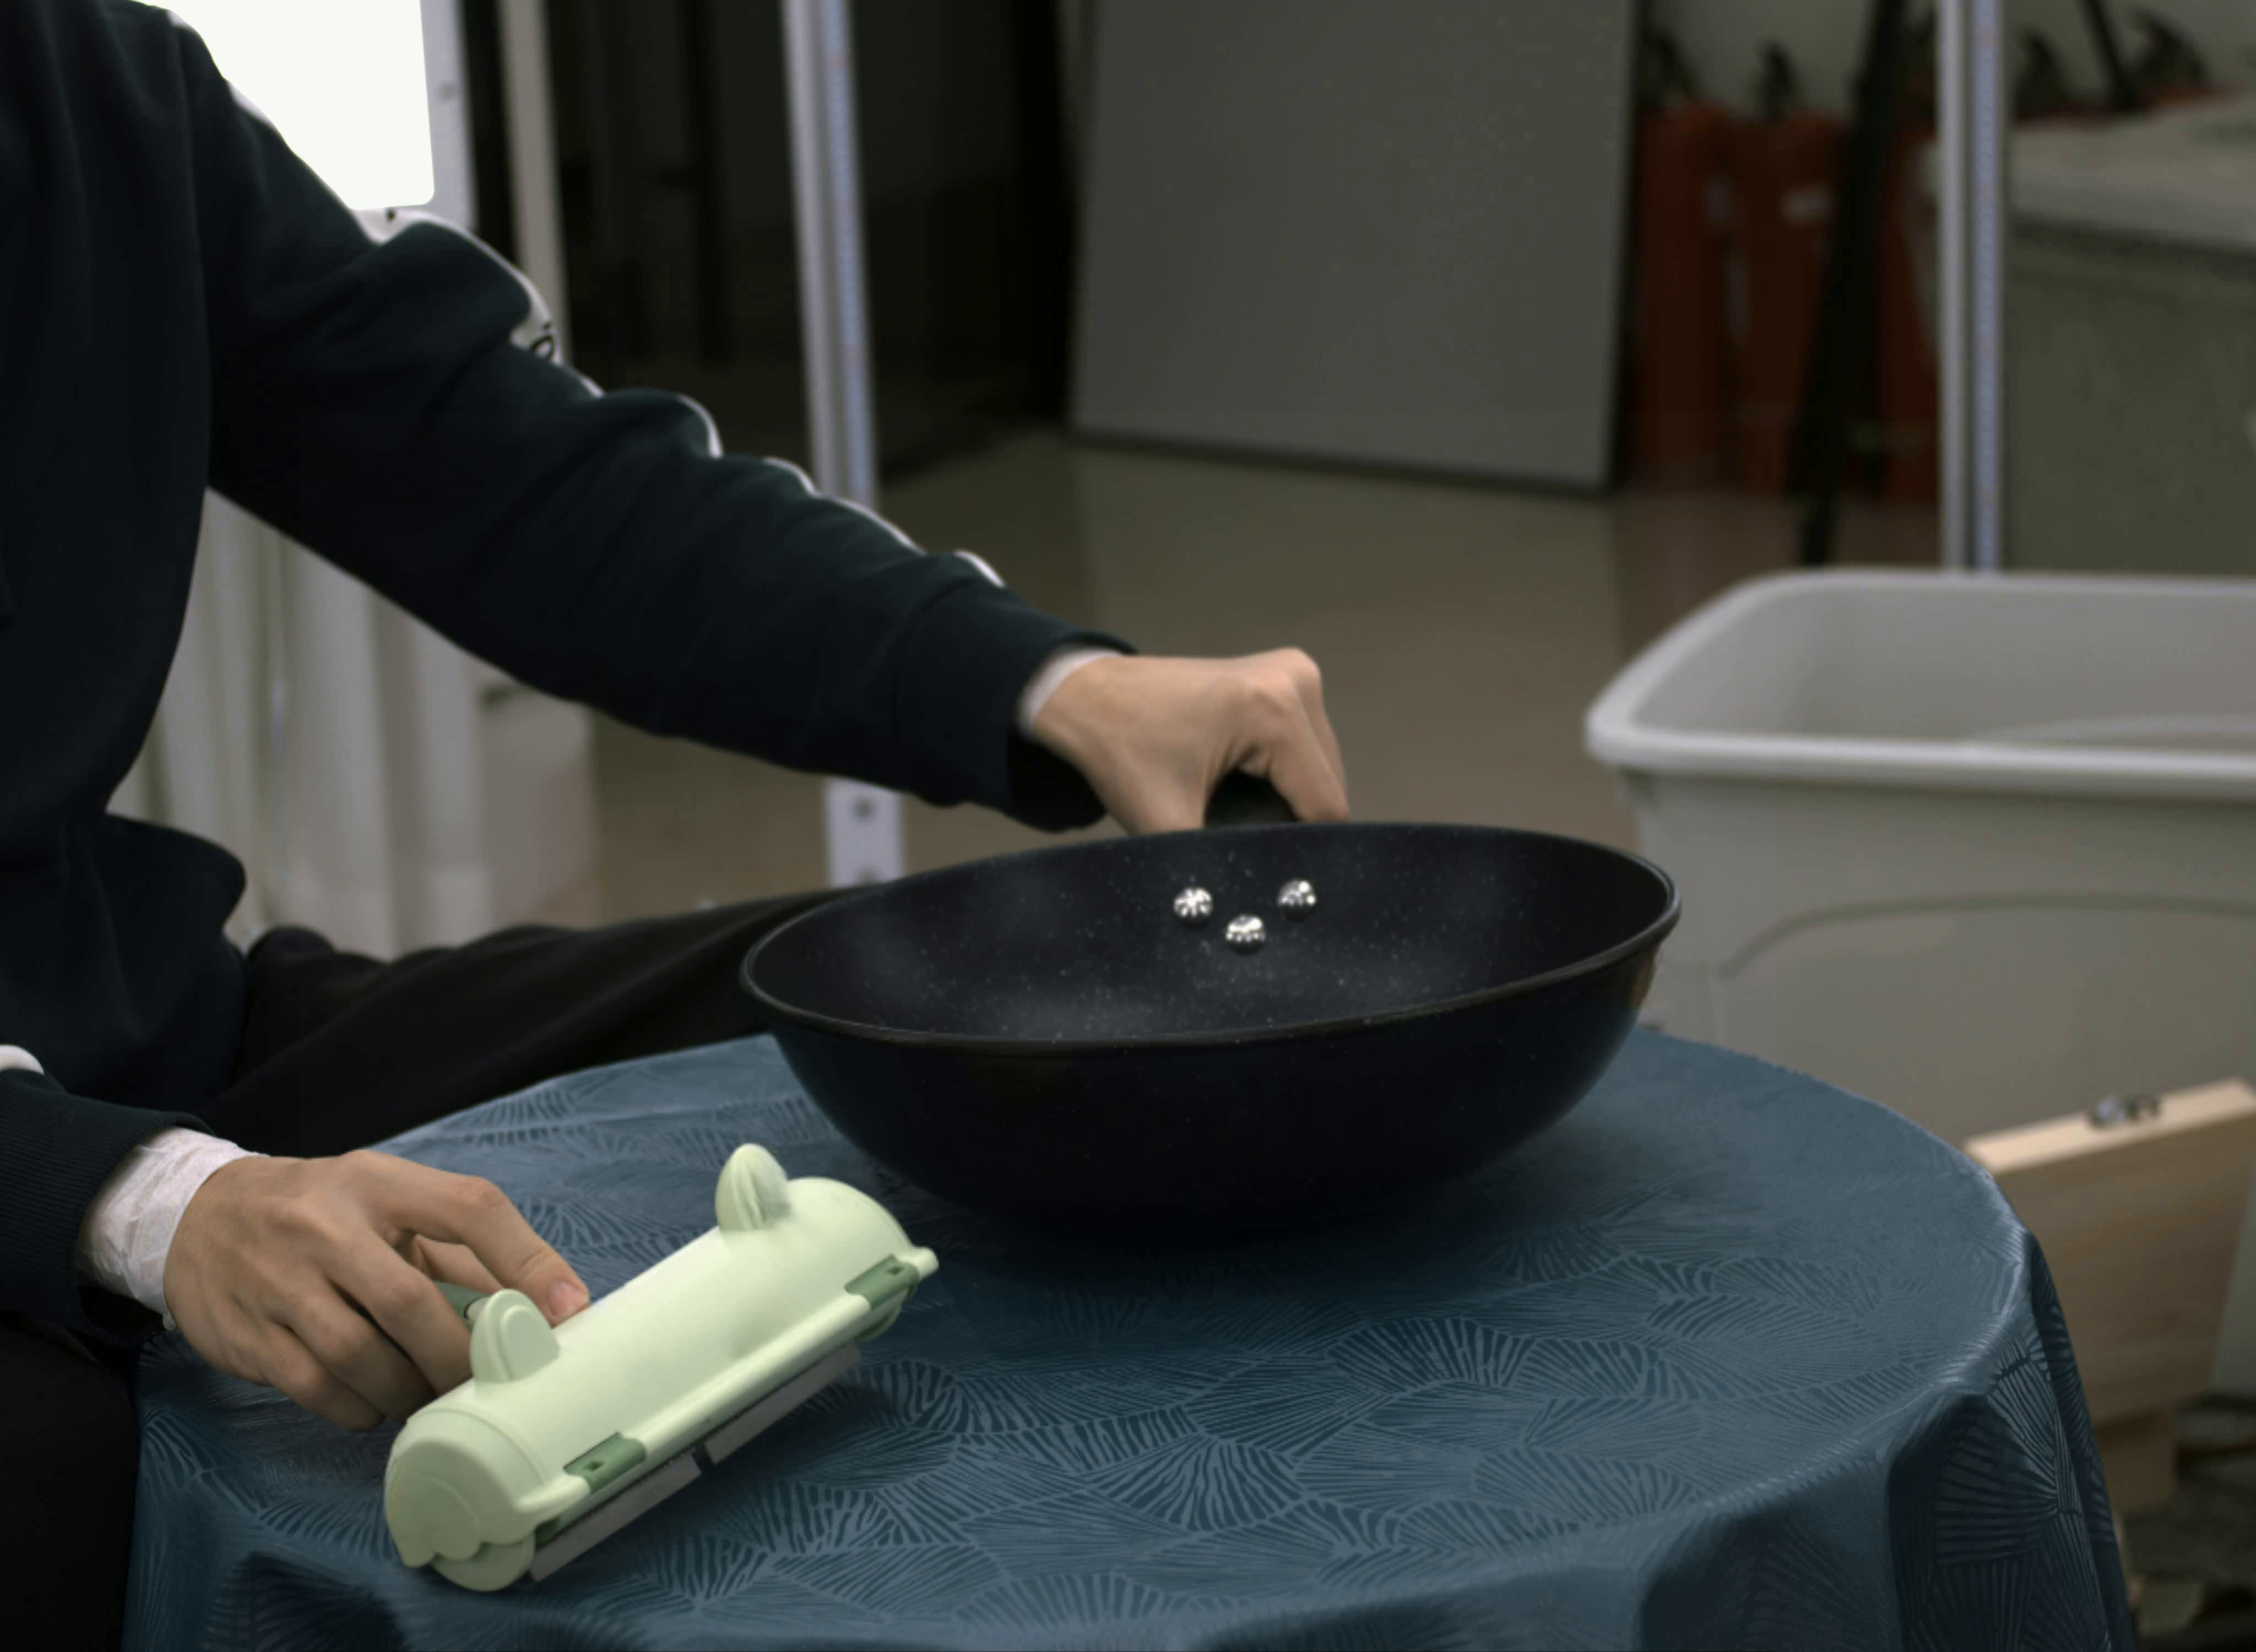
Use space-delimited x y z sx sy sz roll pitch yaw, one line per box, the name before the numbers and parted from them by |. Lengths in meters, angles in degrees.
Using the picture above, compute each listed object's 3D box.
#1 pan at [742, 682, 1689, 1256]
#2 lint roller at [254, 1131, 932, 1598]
pan | 0.037 0.048 1.832 0.307 0.113 0.476 -3 12 6
lint roller | -0.180 0.136 1.557 0.184 0.083 0.195 15 27 30
